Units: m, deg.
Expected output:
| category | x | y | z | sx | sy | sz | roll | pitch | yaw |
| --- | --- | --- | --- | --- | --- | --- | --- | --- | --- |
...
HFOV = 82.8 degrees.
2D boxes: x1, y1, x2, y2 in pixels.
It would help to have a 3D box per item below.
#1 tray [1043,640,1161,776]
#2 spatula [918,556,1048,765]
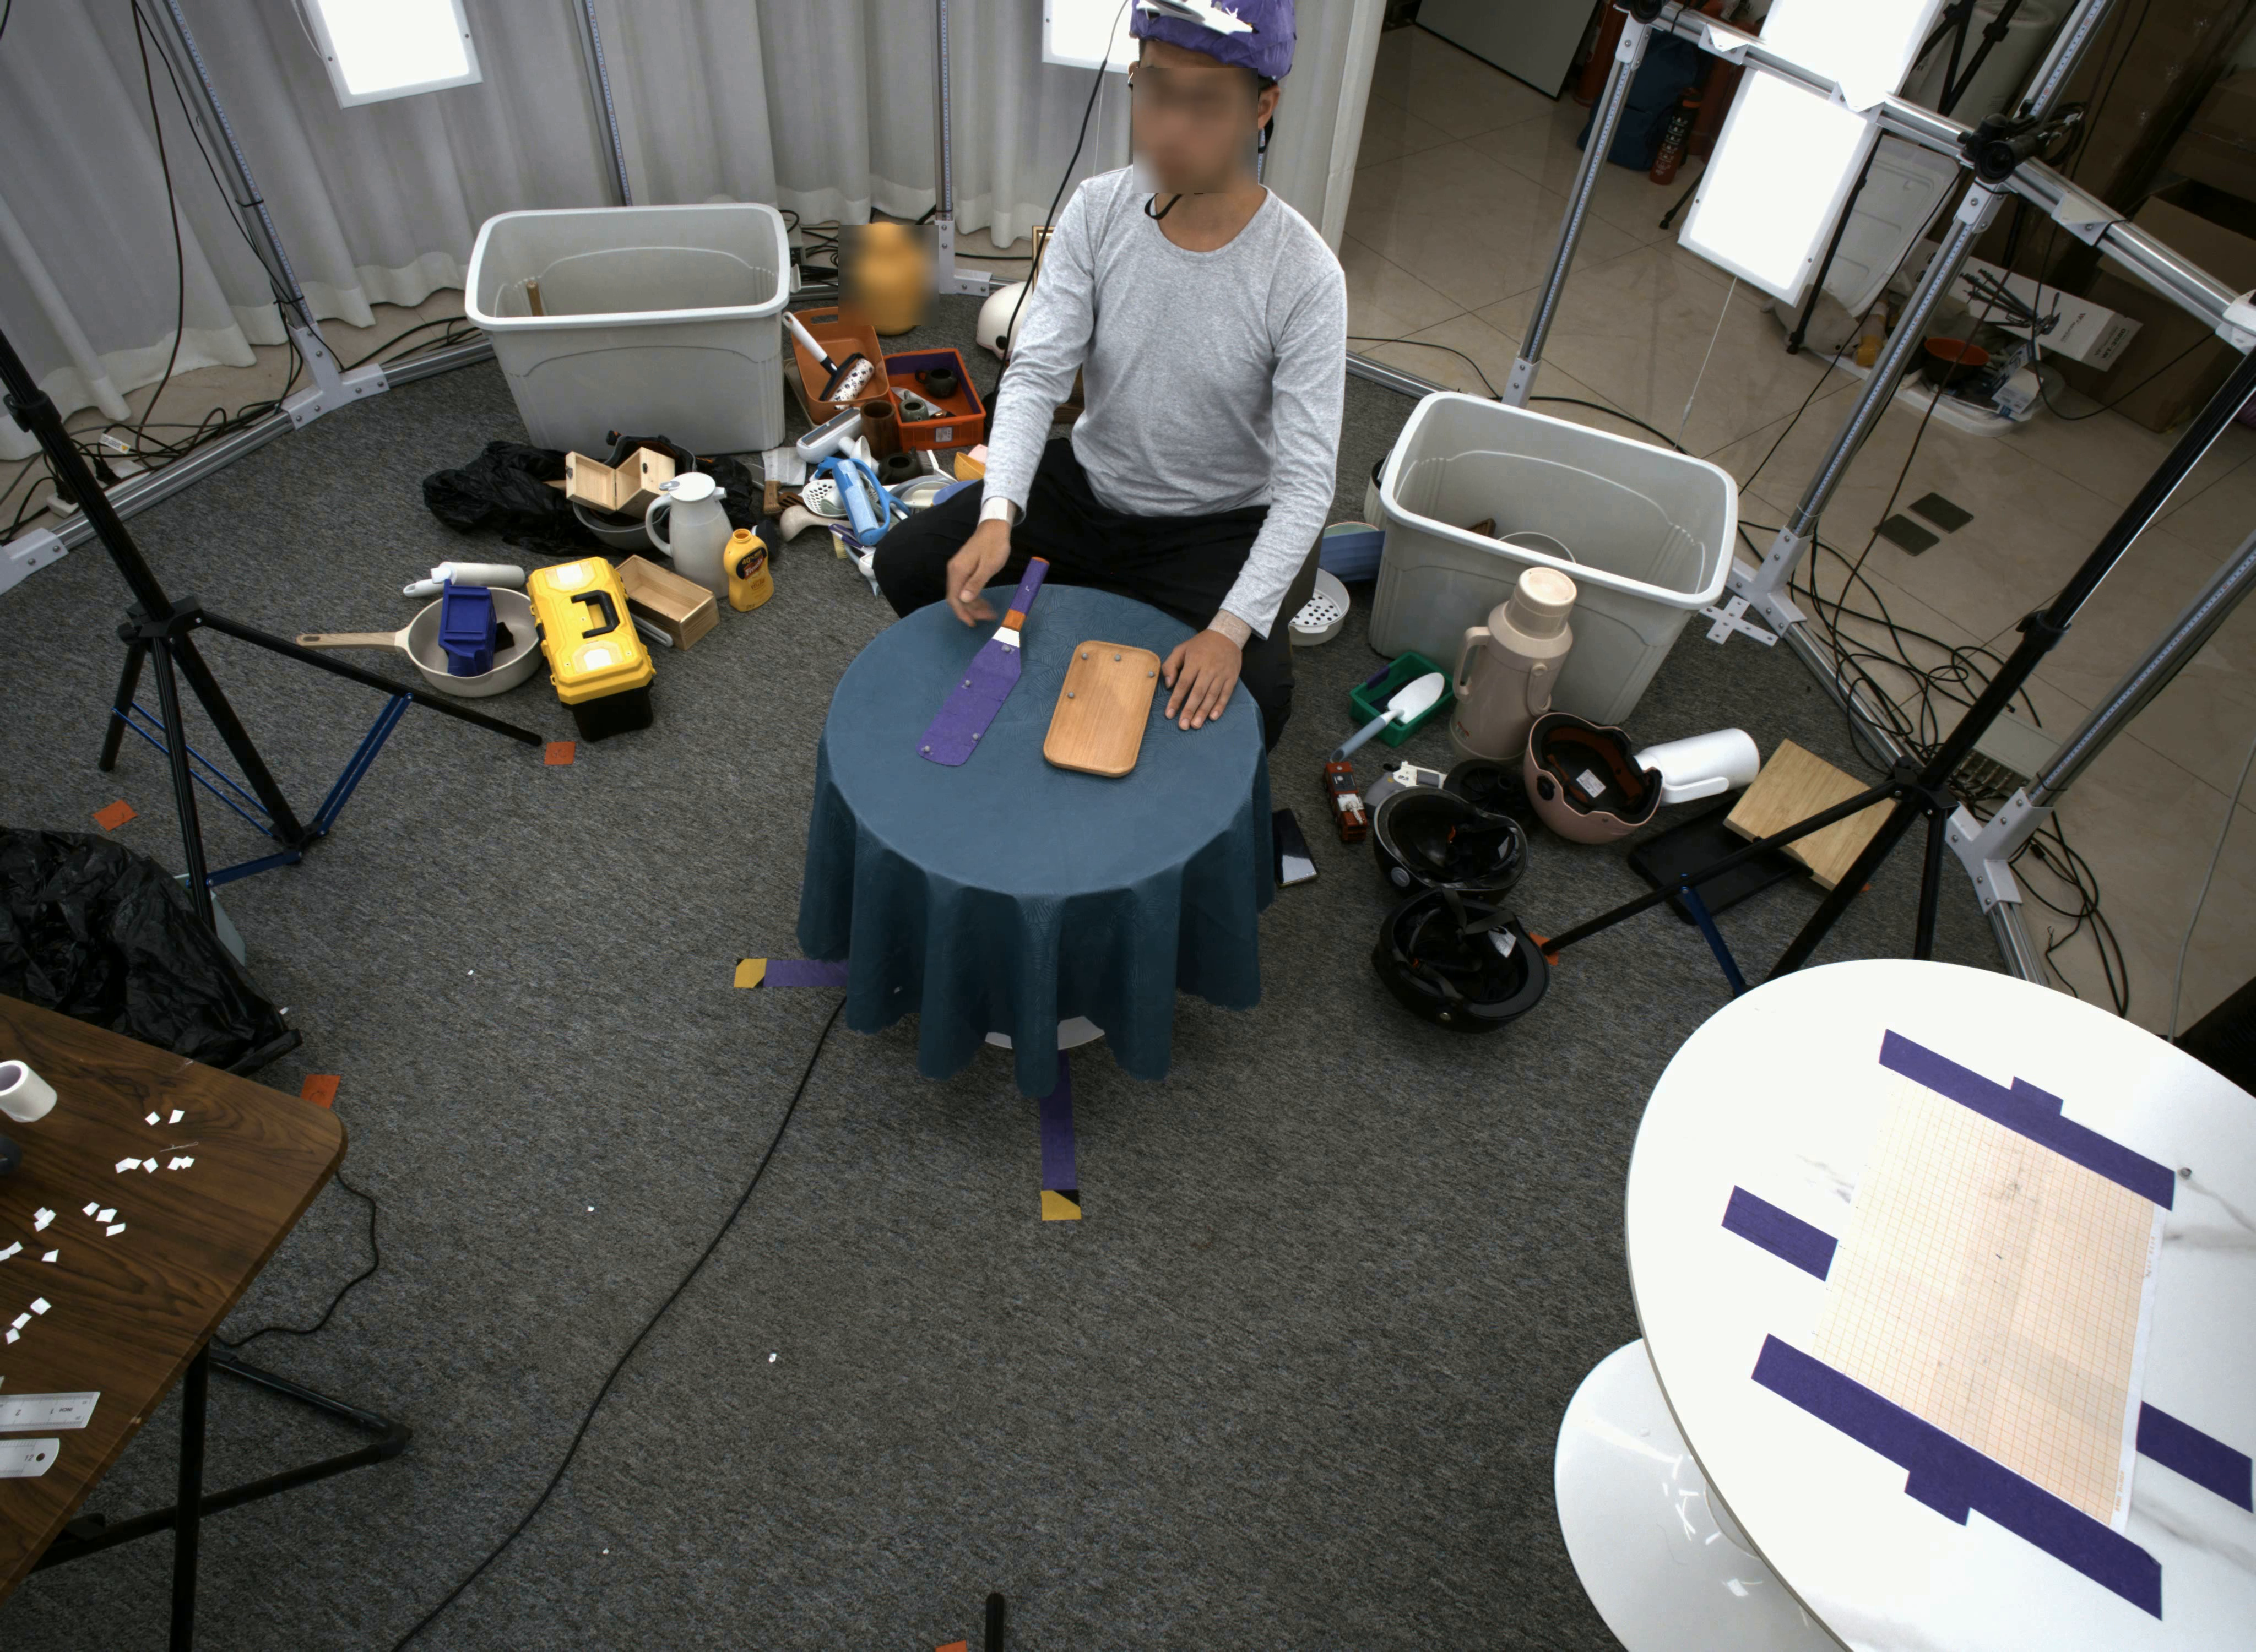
| category | x | y | z | sx | sy | sz | roll | pitch | yaw |
| --- | --- | --- | --- | --- | --- | --- | --- | --- | --- |
| tray | -0.034 | -0.170 | 1.811 | 0.131 | 0.022 | 0.256 | 9 | 50 | 7 |
| spatula | -0.192 | -0.239 | 1.819 | 0.075 | 0.085 | 0.363 | 18 | 75 | 9 |
